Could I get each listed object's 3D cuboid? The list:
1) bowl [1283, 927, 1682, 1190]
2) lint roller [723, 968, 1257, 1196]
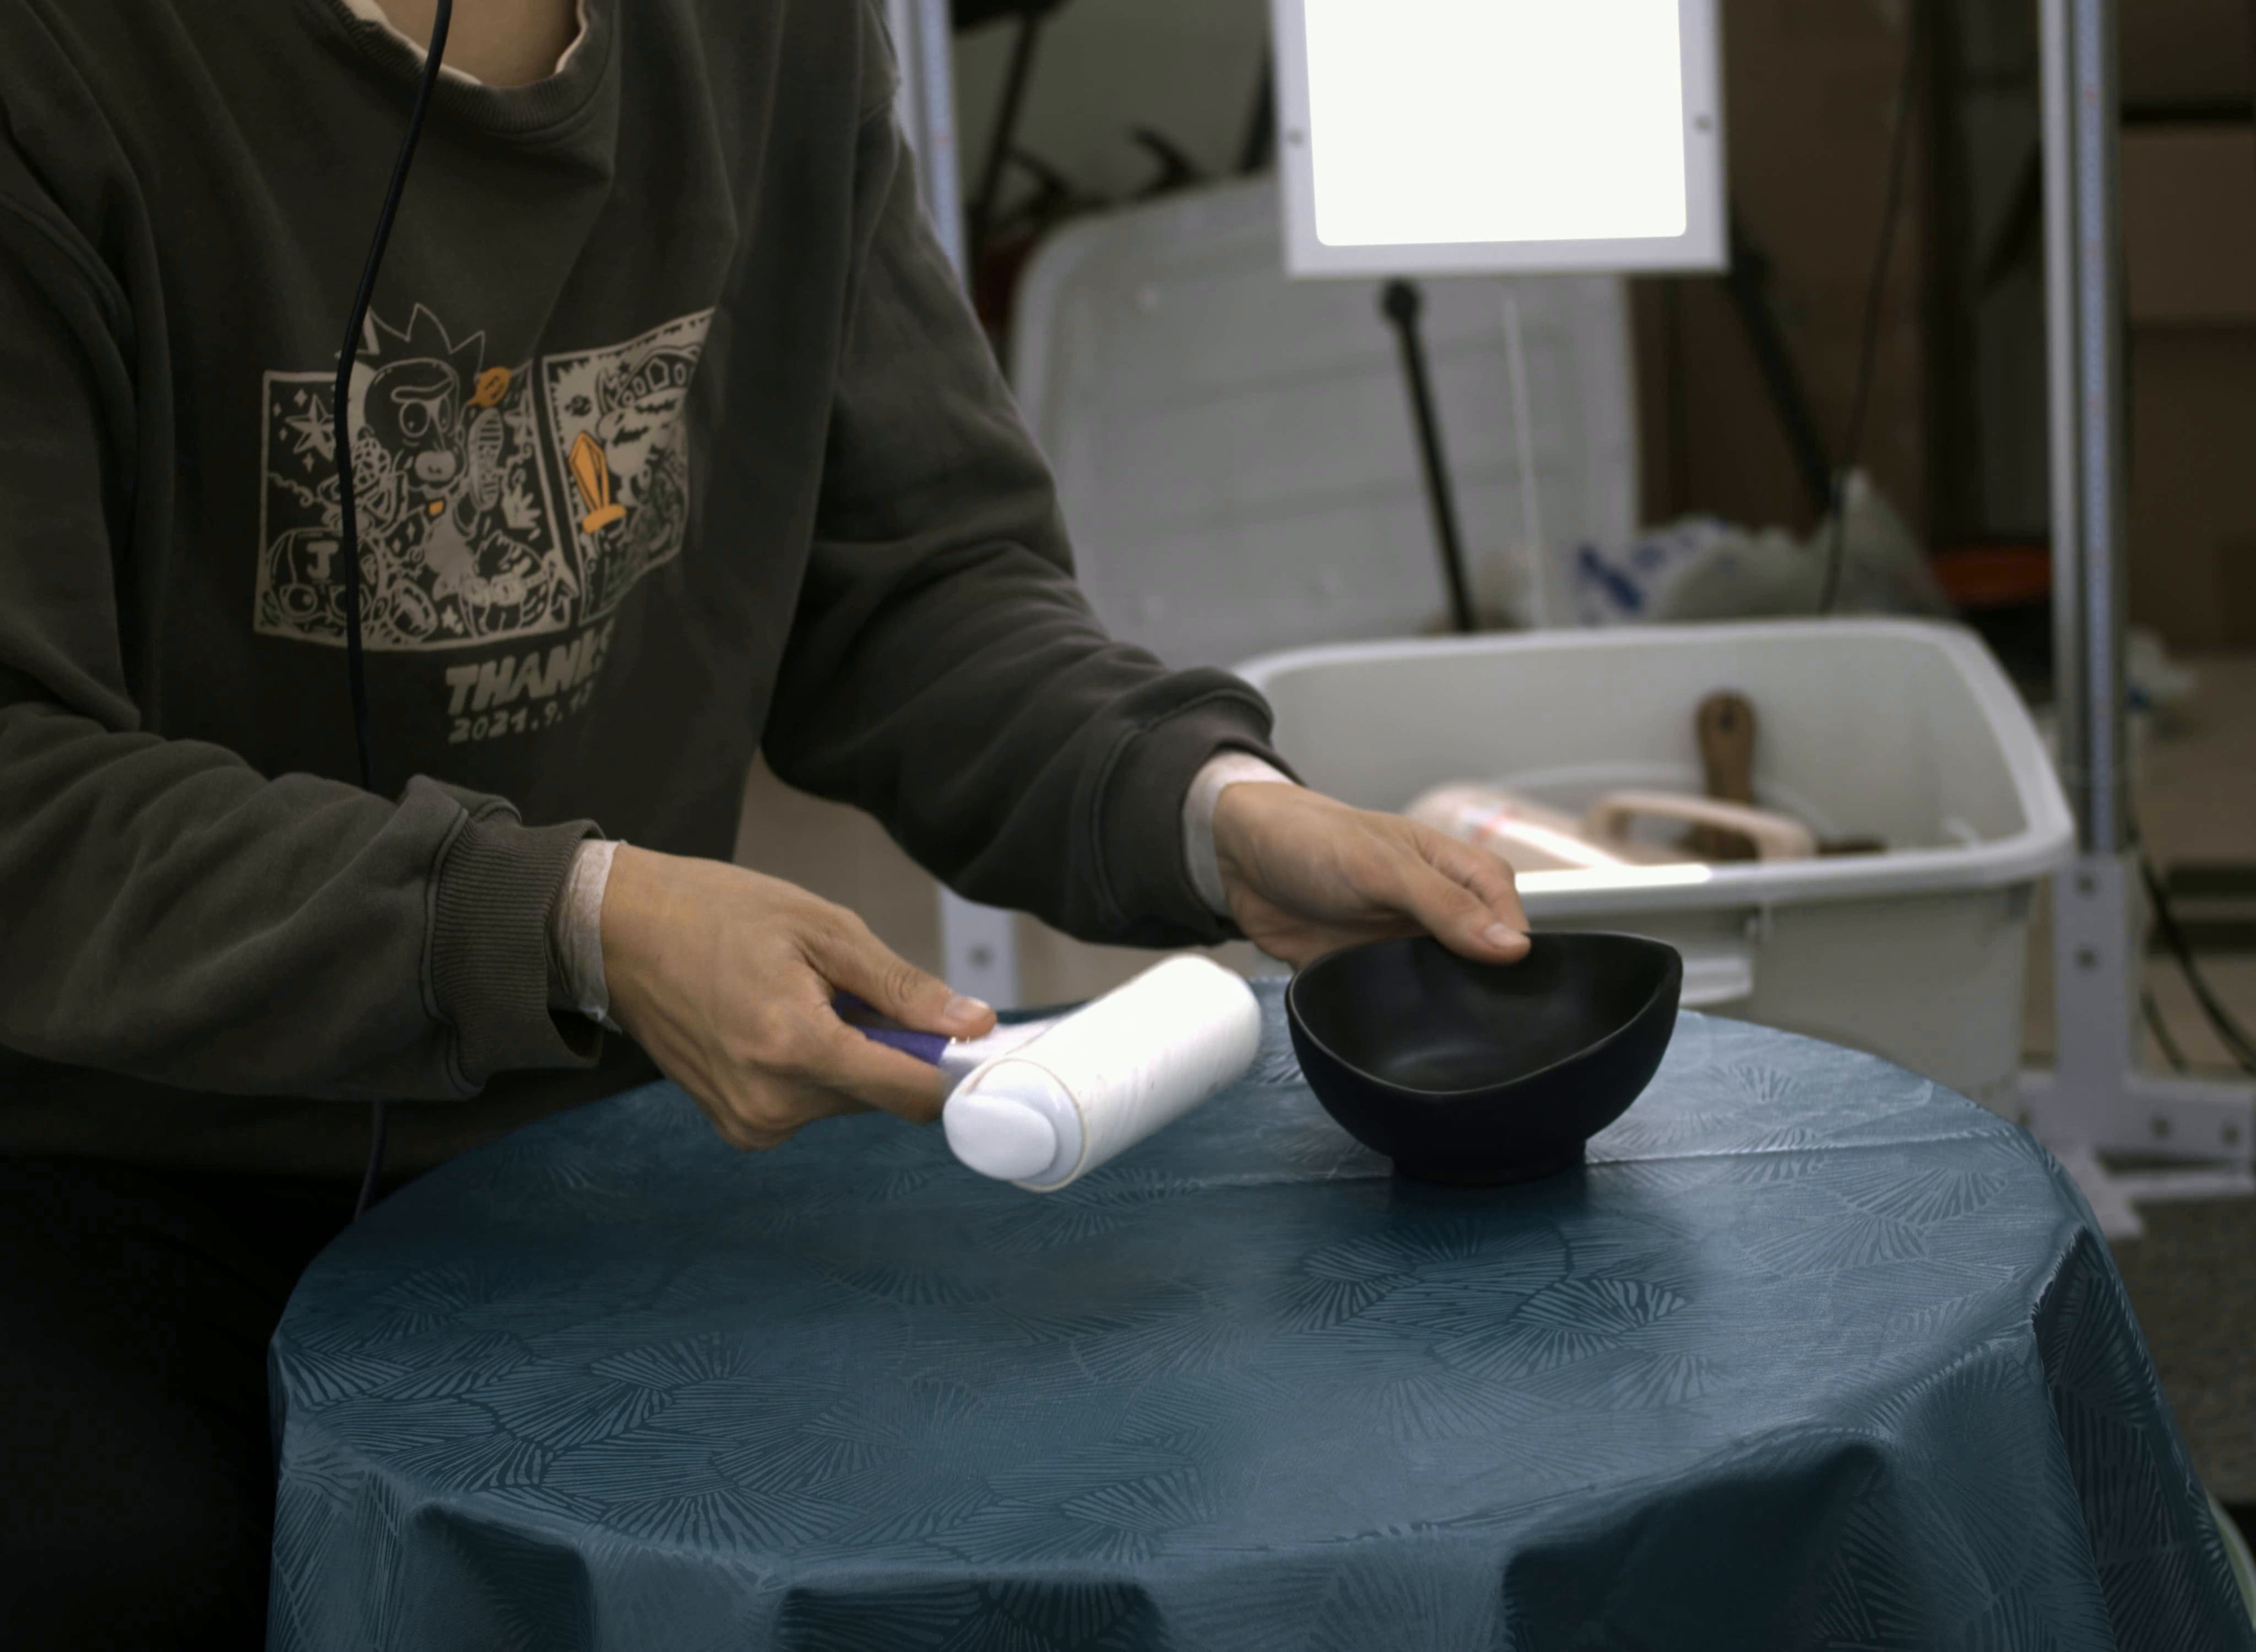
[{"bbox_3d":[0.124,0.084,1.893,0.138,0.067,0.168,-3,16,12],"label":"bowl"},{"bbox_3d":[-0.057,0.064,1.802,0.184,0.050,0.129,20,28,33],"label":"lint roller"}]
